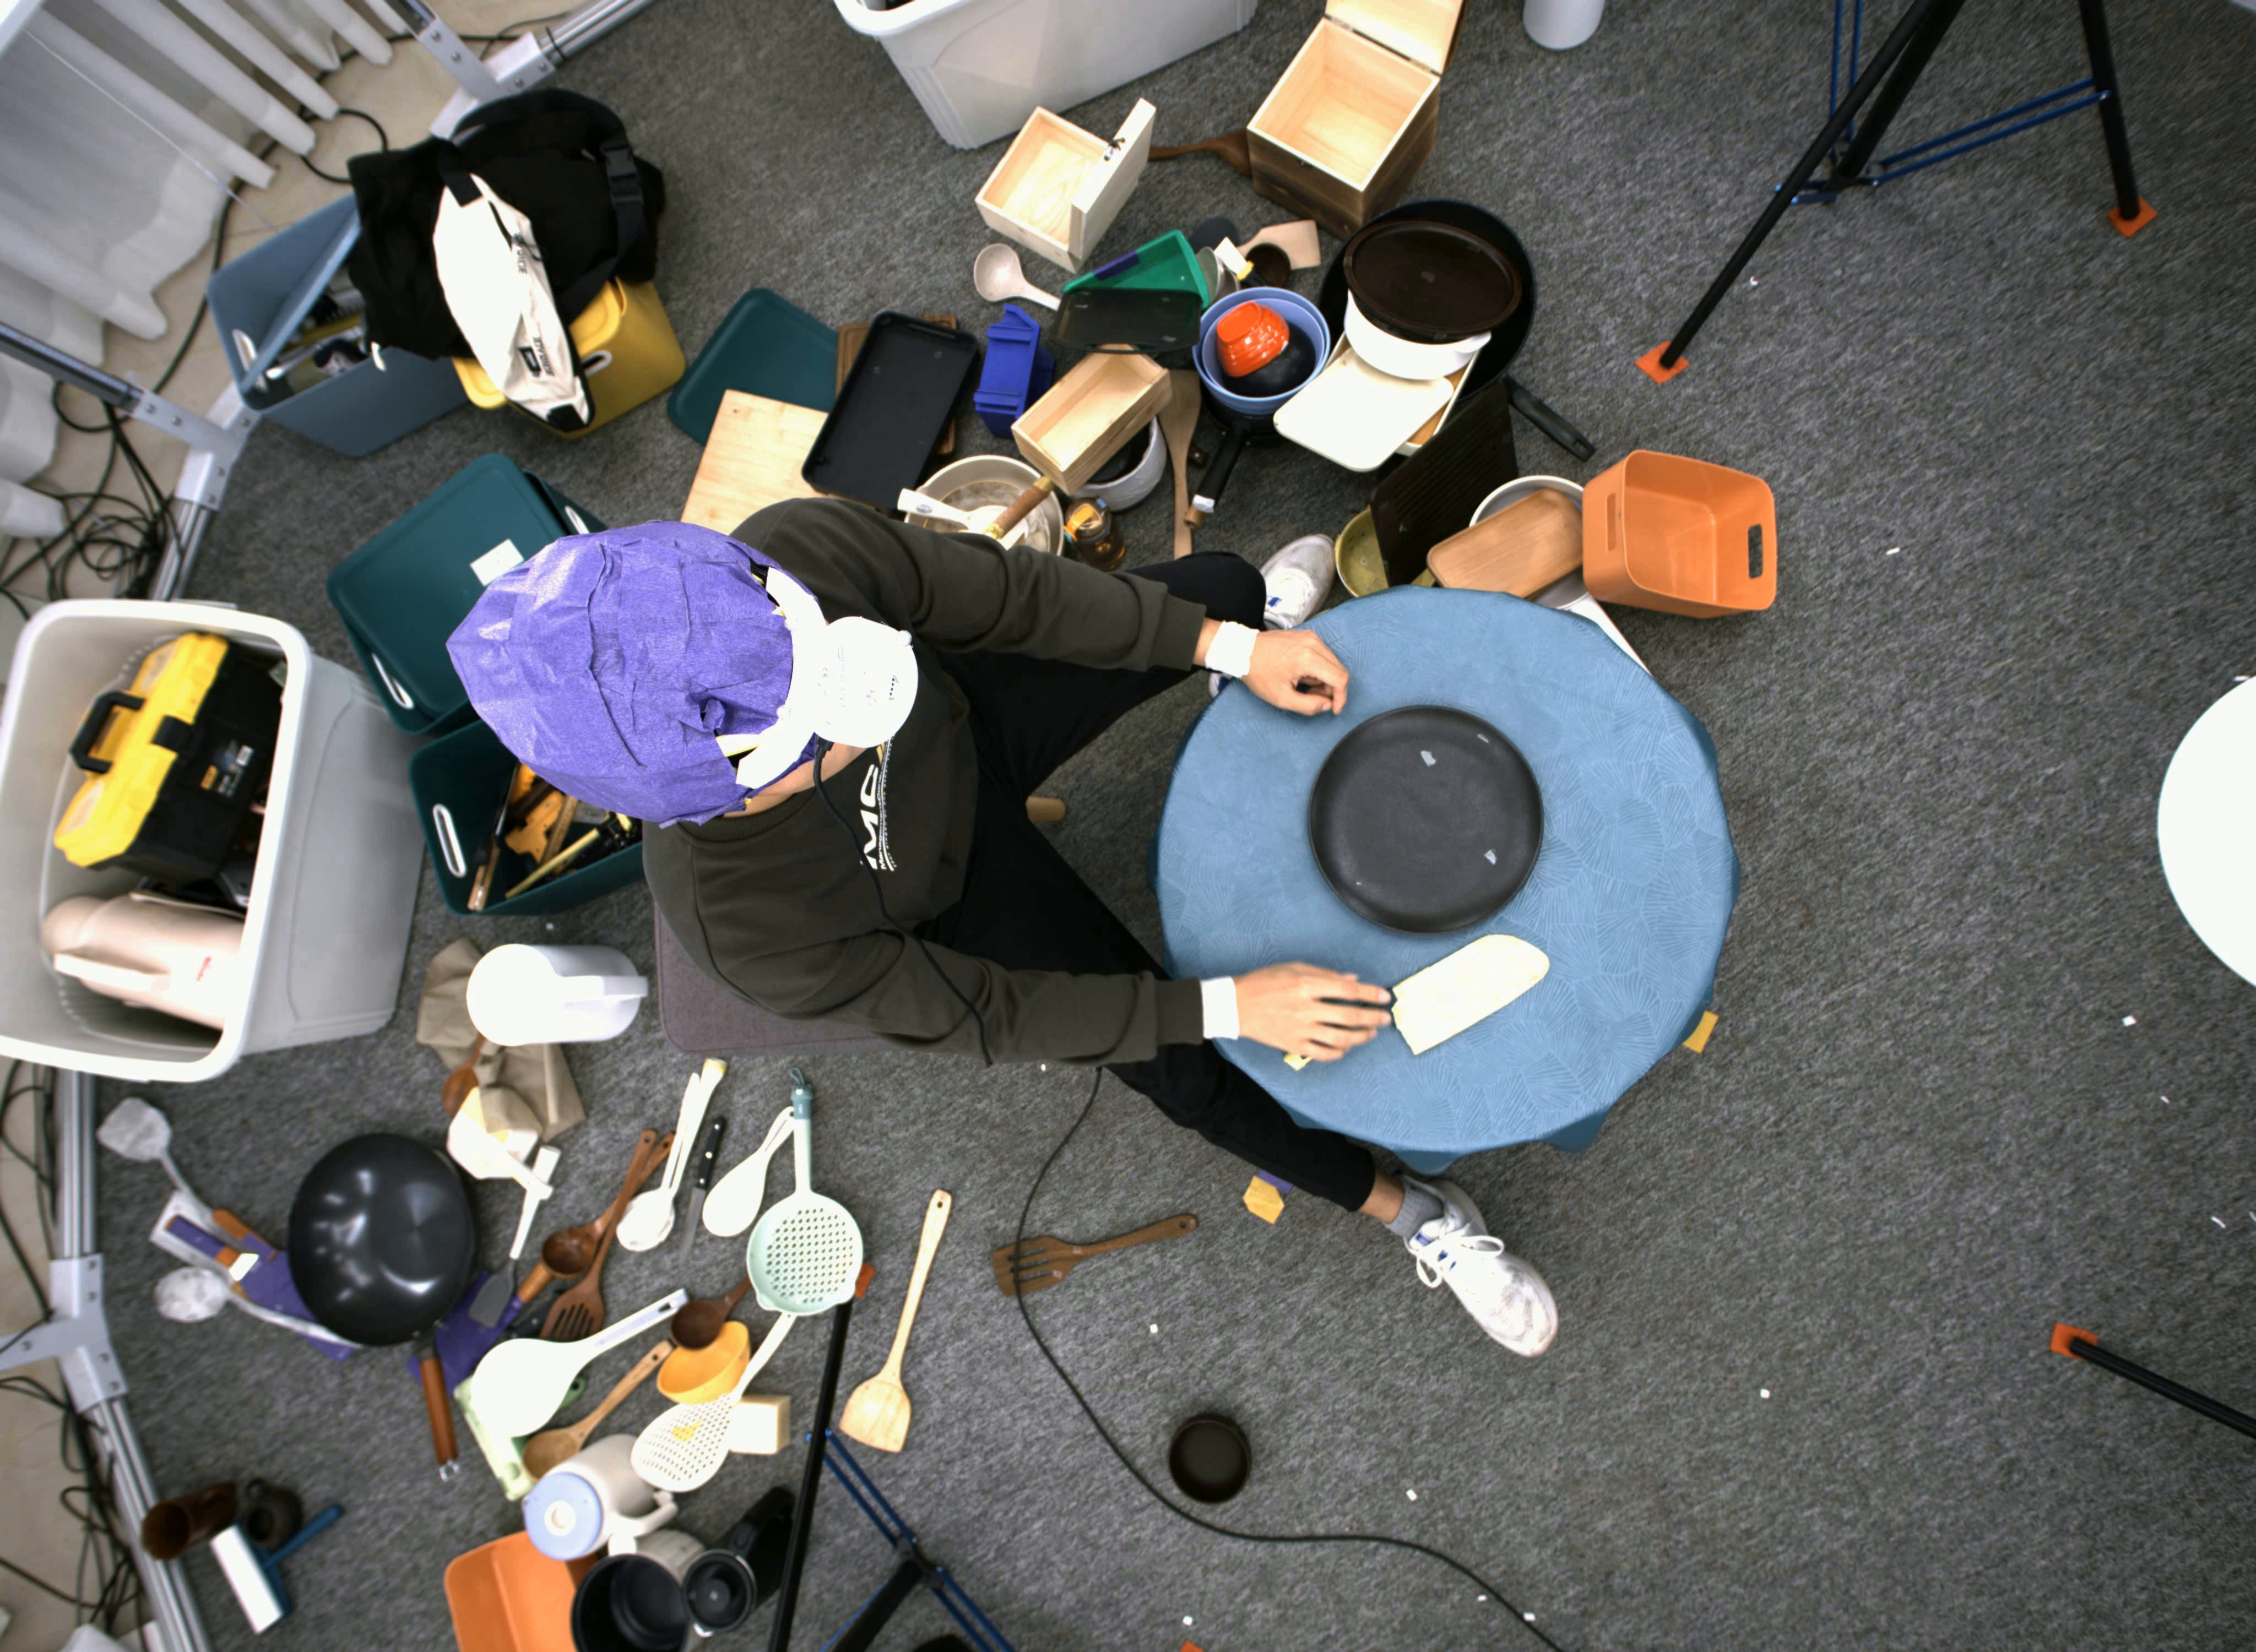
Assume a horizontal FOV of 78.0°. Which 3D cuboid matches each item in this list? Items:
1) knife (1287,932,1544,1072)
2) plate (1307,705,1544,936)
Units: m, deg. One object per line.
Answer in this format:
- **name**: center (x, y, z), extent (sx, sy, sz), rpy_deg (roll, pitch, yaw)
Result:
- **knife**: center (0.302, 0.192, 1.440), extent (0.291, 0.027, 0.080), rpy_deg (-28, 80, 7)
- **plate**: center (0.311, -0.007, 1.445), extent (0.245, 0.023, 0.243), rpy_deg (-1, 87, 11)
